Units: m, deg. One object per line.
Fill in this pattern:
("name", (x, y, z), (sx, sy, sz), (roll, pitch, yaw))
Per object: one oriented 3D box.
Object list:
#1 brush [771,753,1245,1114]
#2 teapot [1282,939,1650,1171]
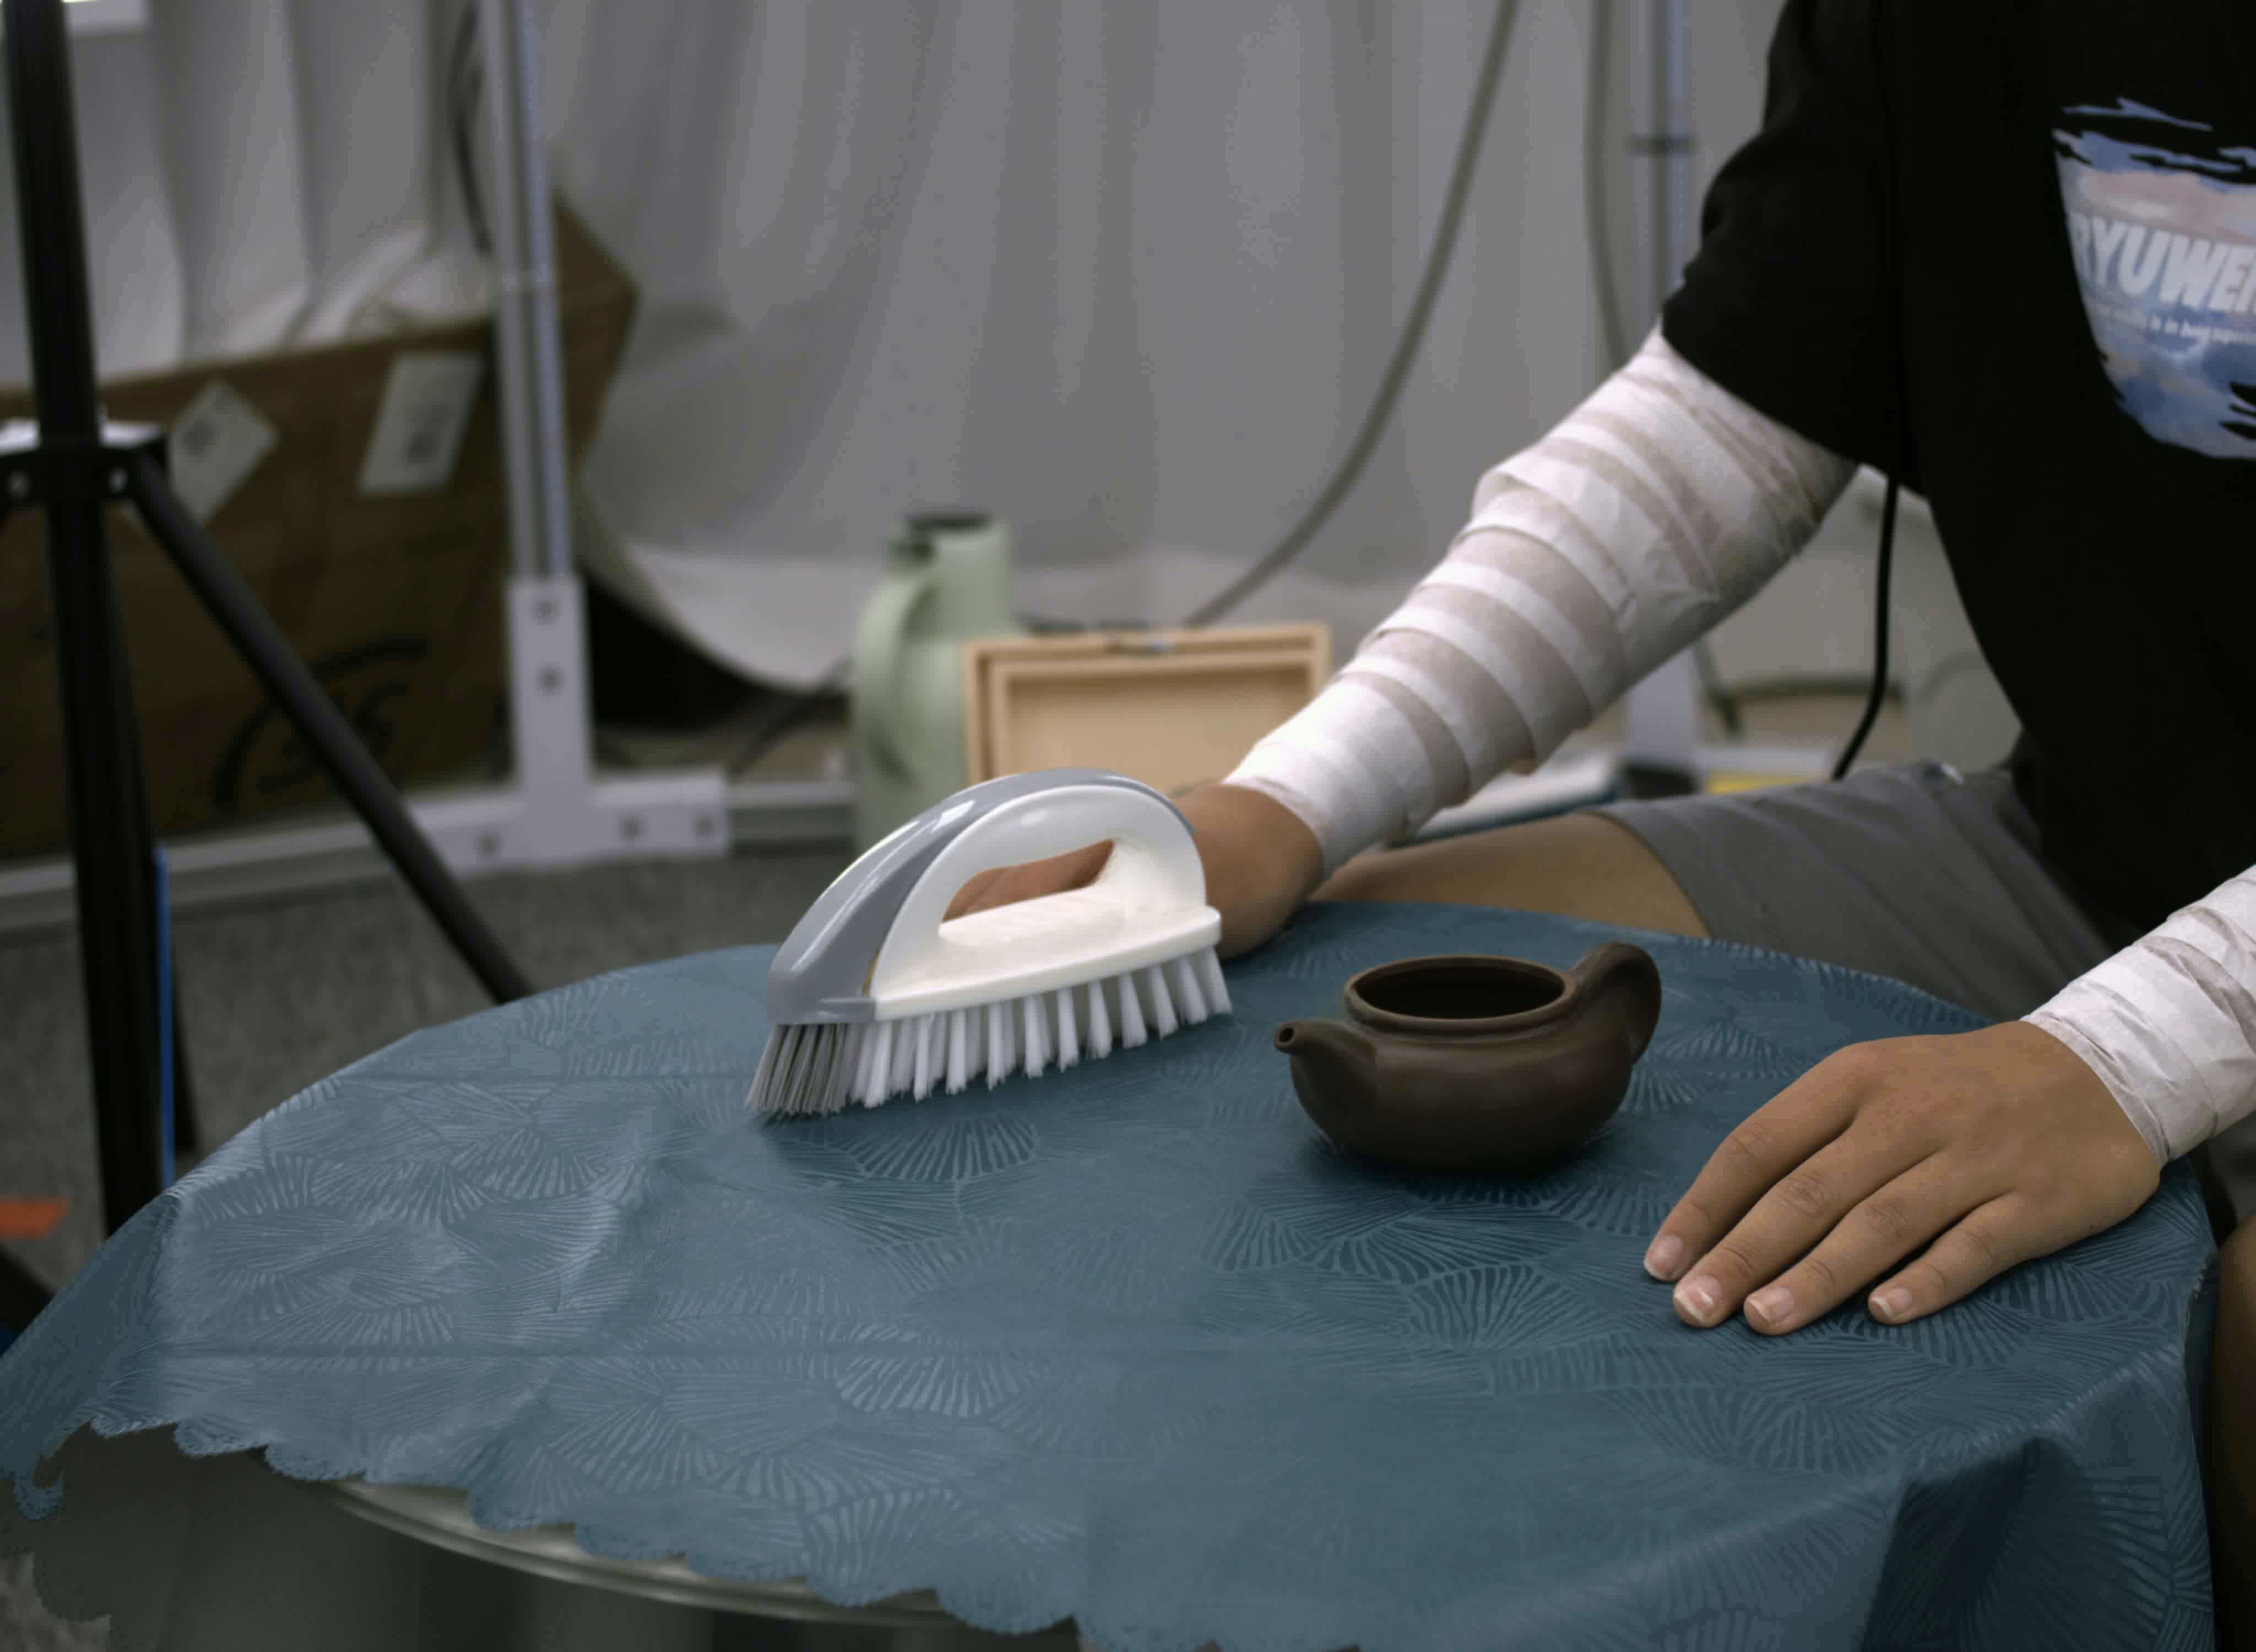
("brush", (-0.045, 0.031, 1.672), (0.171, 0.094, 0.063), (-16, 17, -35))
("teapot", (0.102, 0.068, 1.587), (0.150, 0.054, 0.105), (-17, 23, -42))
